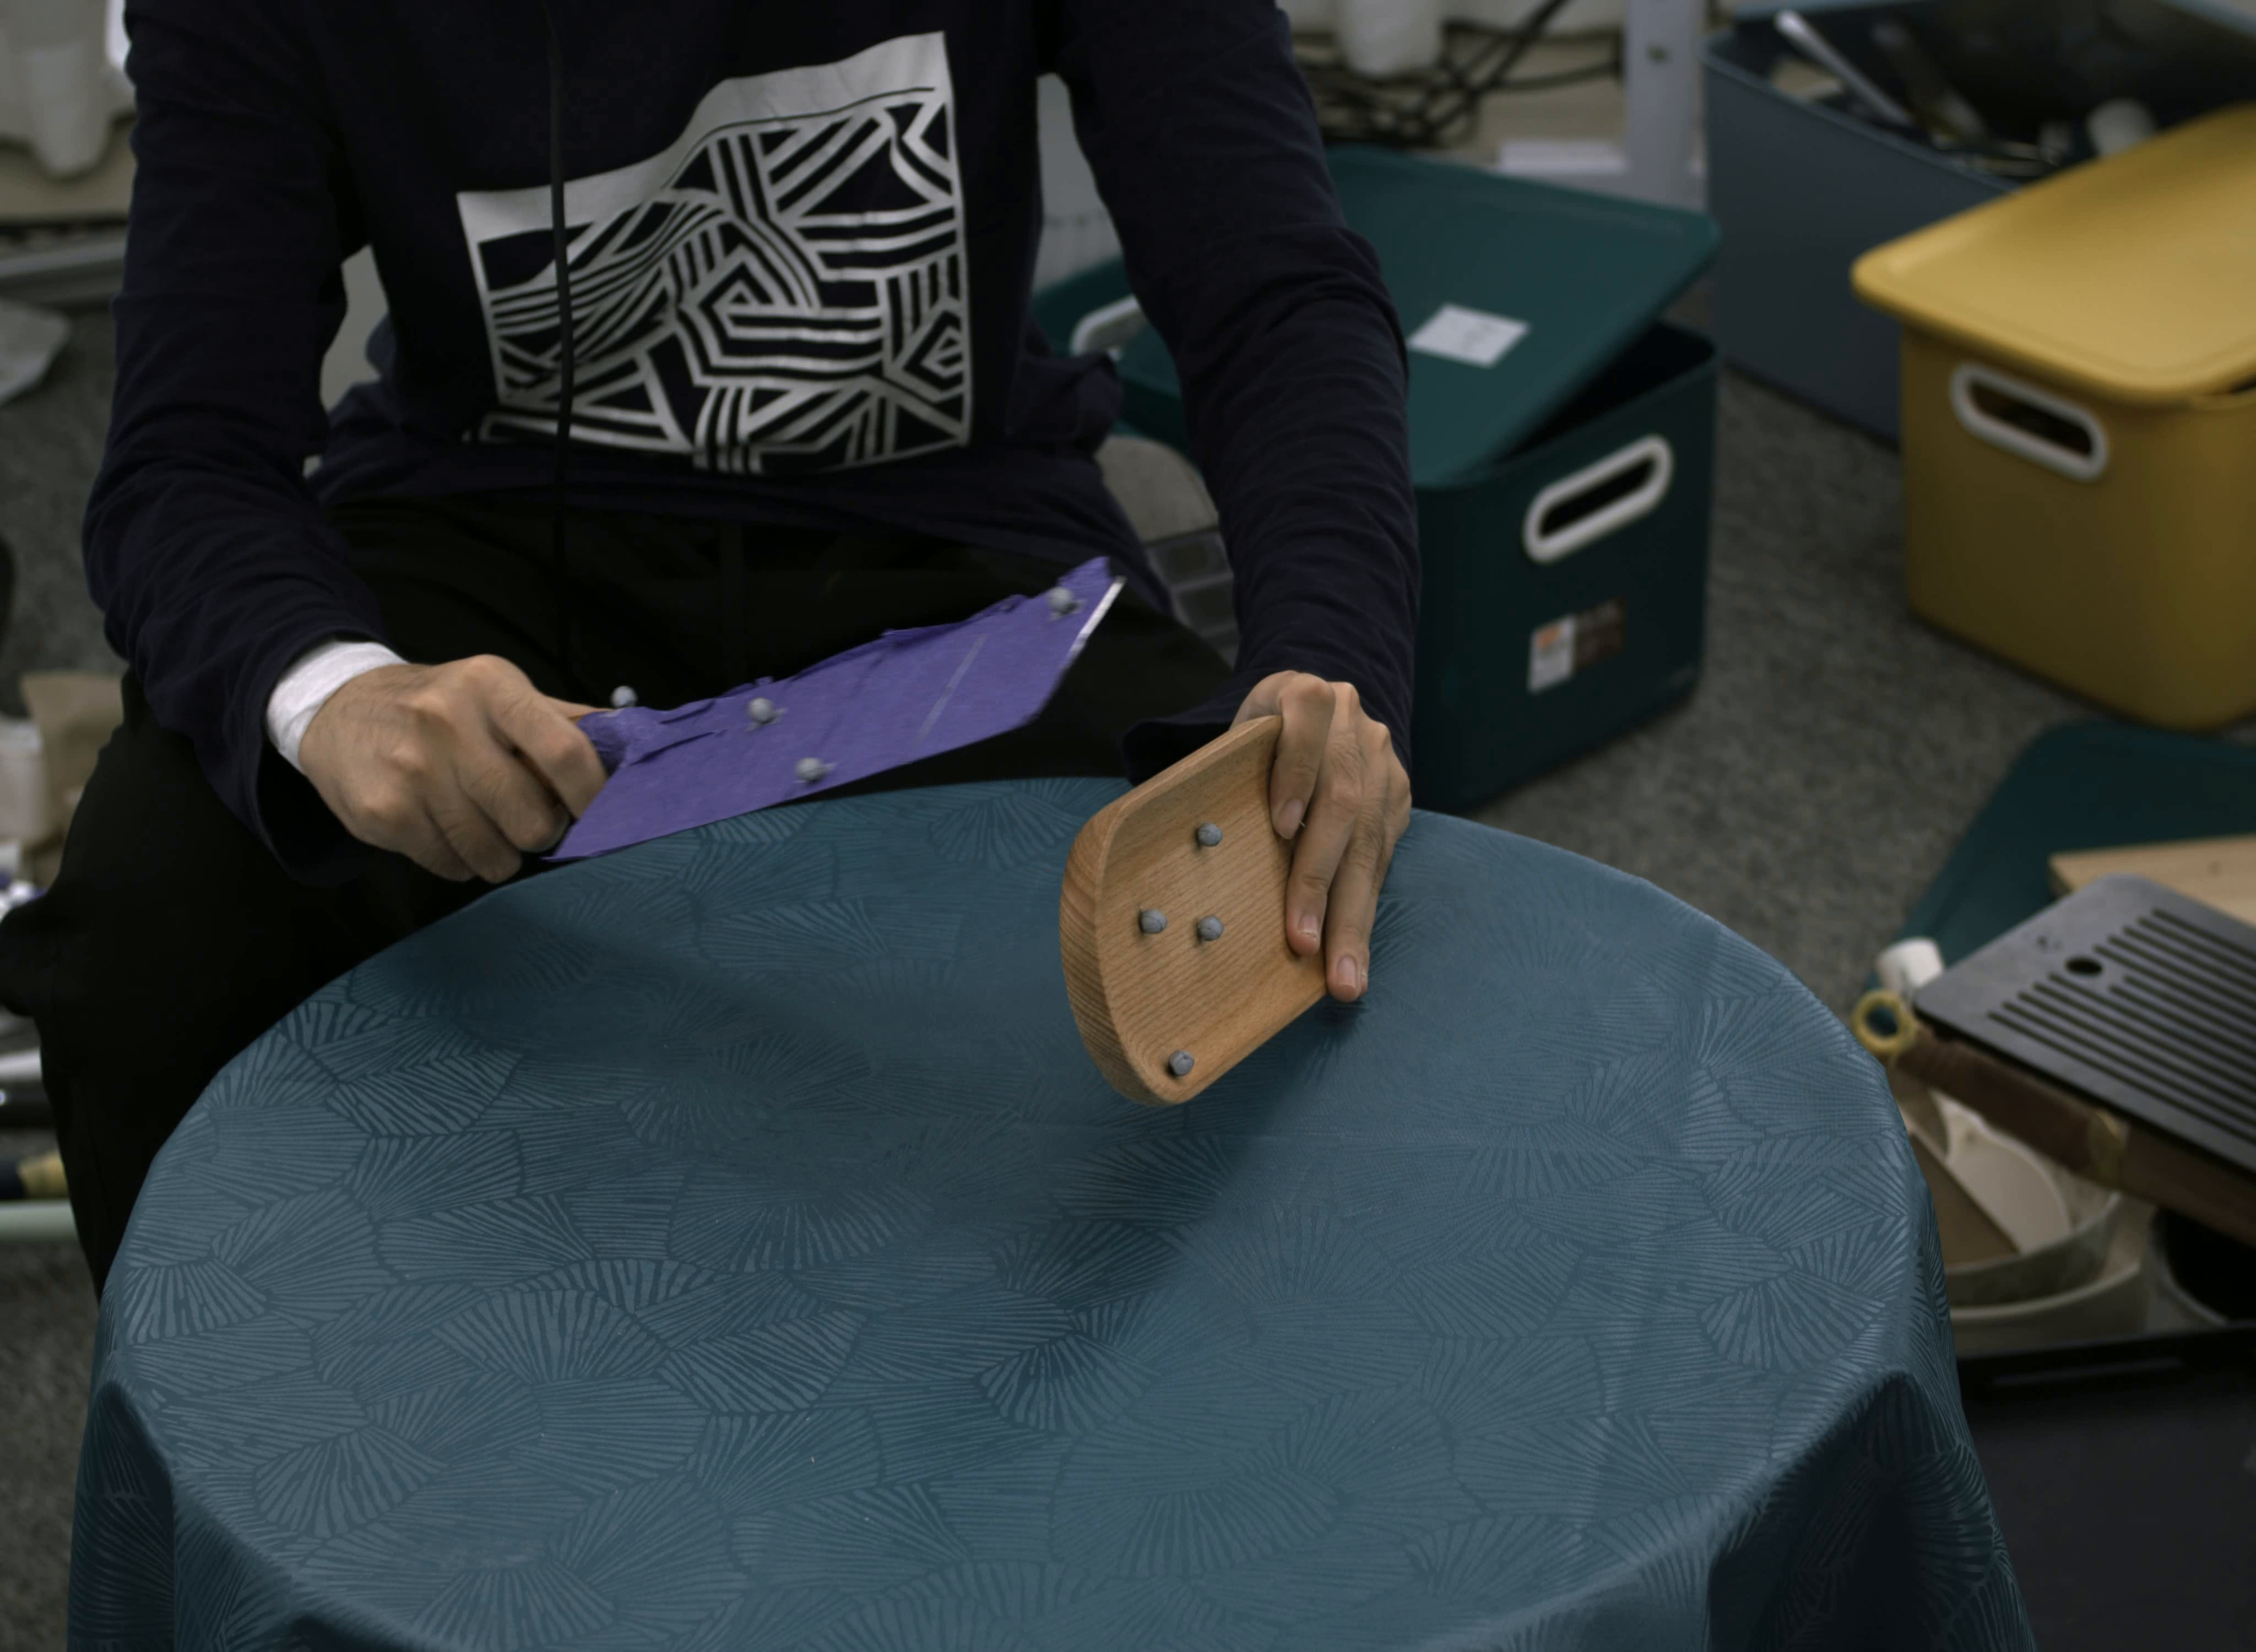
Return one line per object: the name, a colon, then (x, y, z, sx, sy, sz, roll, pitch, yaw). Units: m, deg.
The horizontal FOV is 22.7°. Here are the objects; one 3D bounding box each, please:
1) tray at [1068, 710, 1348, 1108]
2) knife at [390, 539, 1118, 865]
tray: (0.029, 0.026, 1.883, 0.020, 0.101, 0.233, -10, 10, 21)
knife: (-0.143, -0.028, 1.890, 0.311, 0.032, 0.106, -19, 23, 34)
